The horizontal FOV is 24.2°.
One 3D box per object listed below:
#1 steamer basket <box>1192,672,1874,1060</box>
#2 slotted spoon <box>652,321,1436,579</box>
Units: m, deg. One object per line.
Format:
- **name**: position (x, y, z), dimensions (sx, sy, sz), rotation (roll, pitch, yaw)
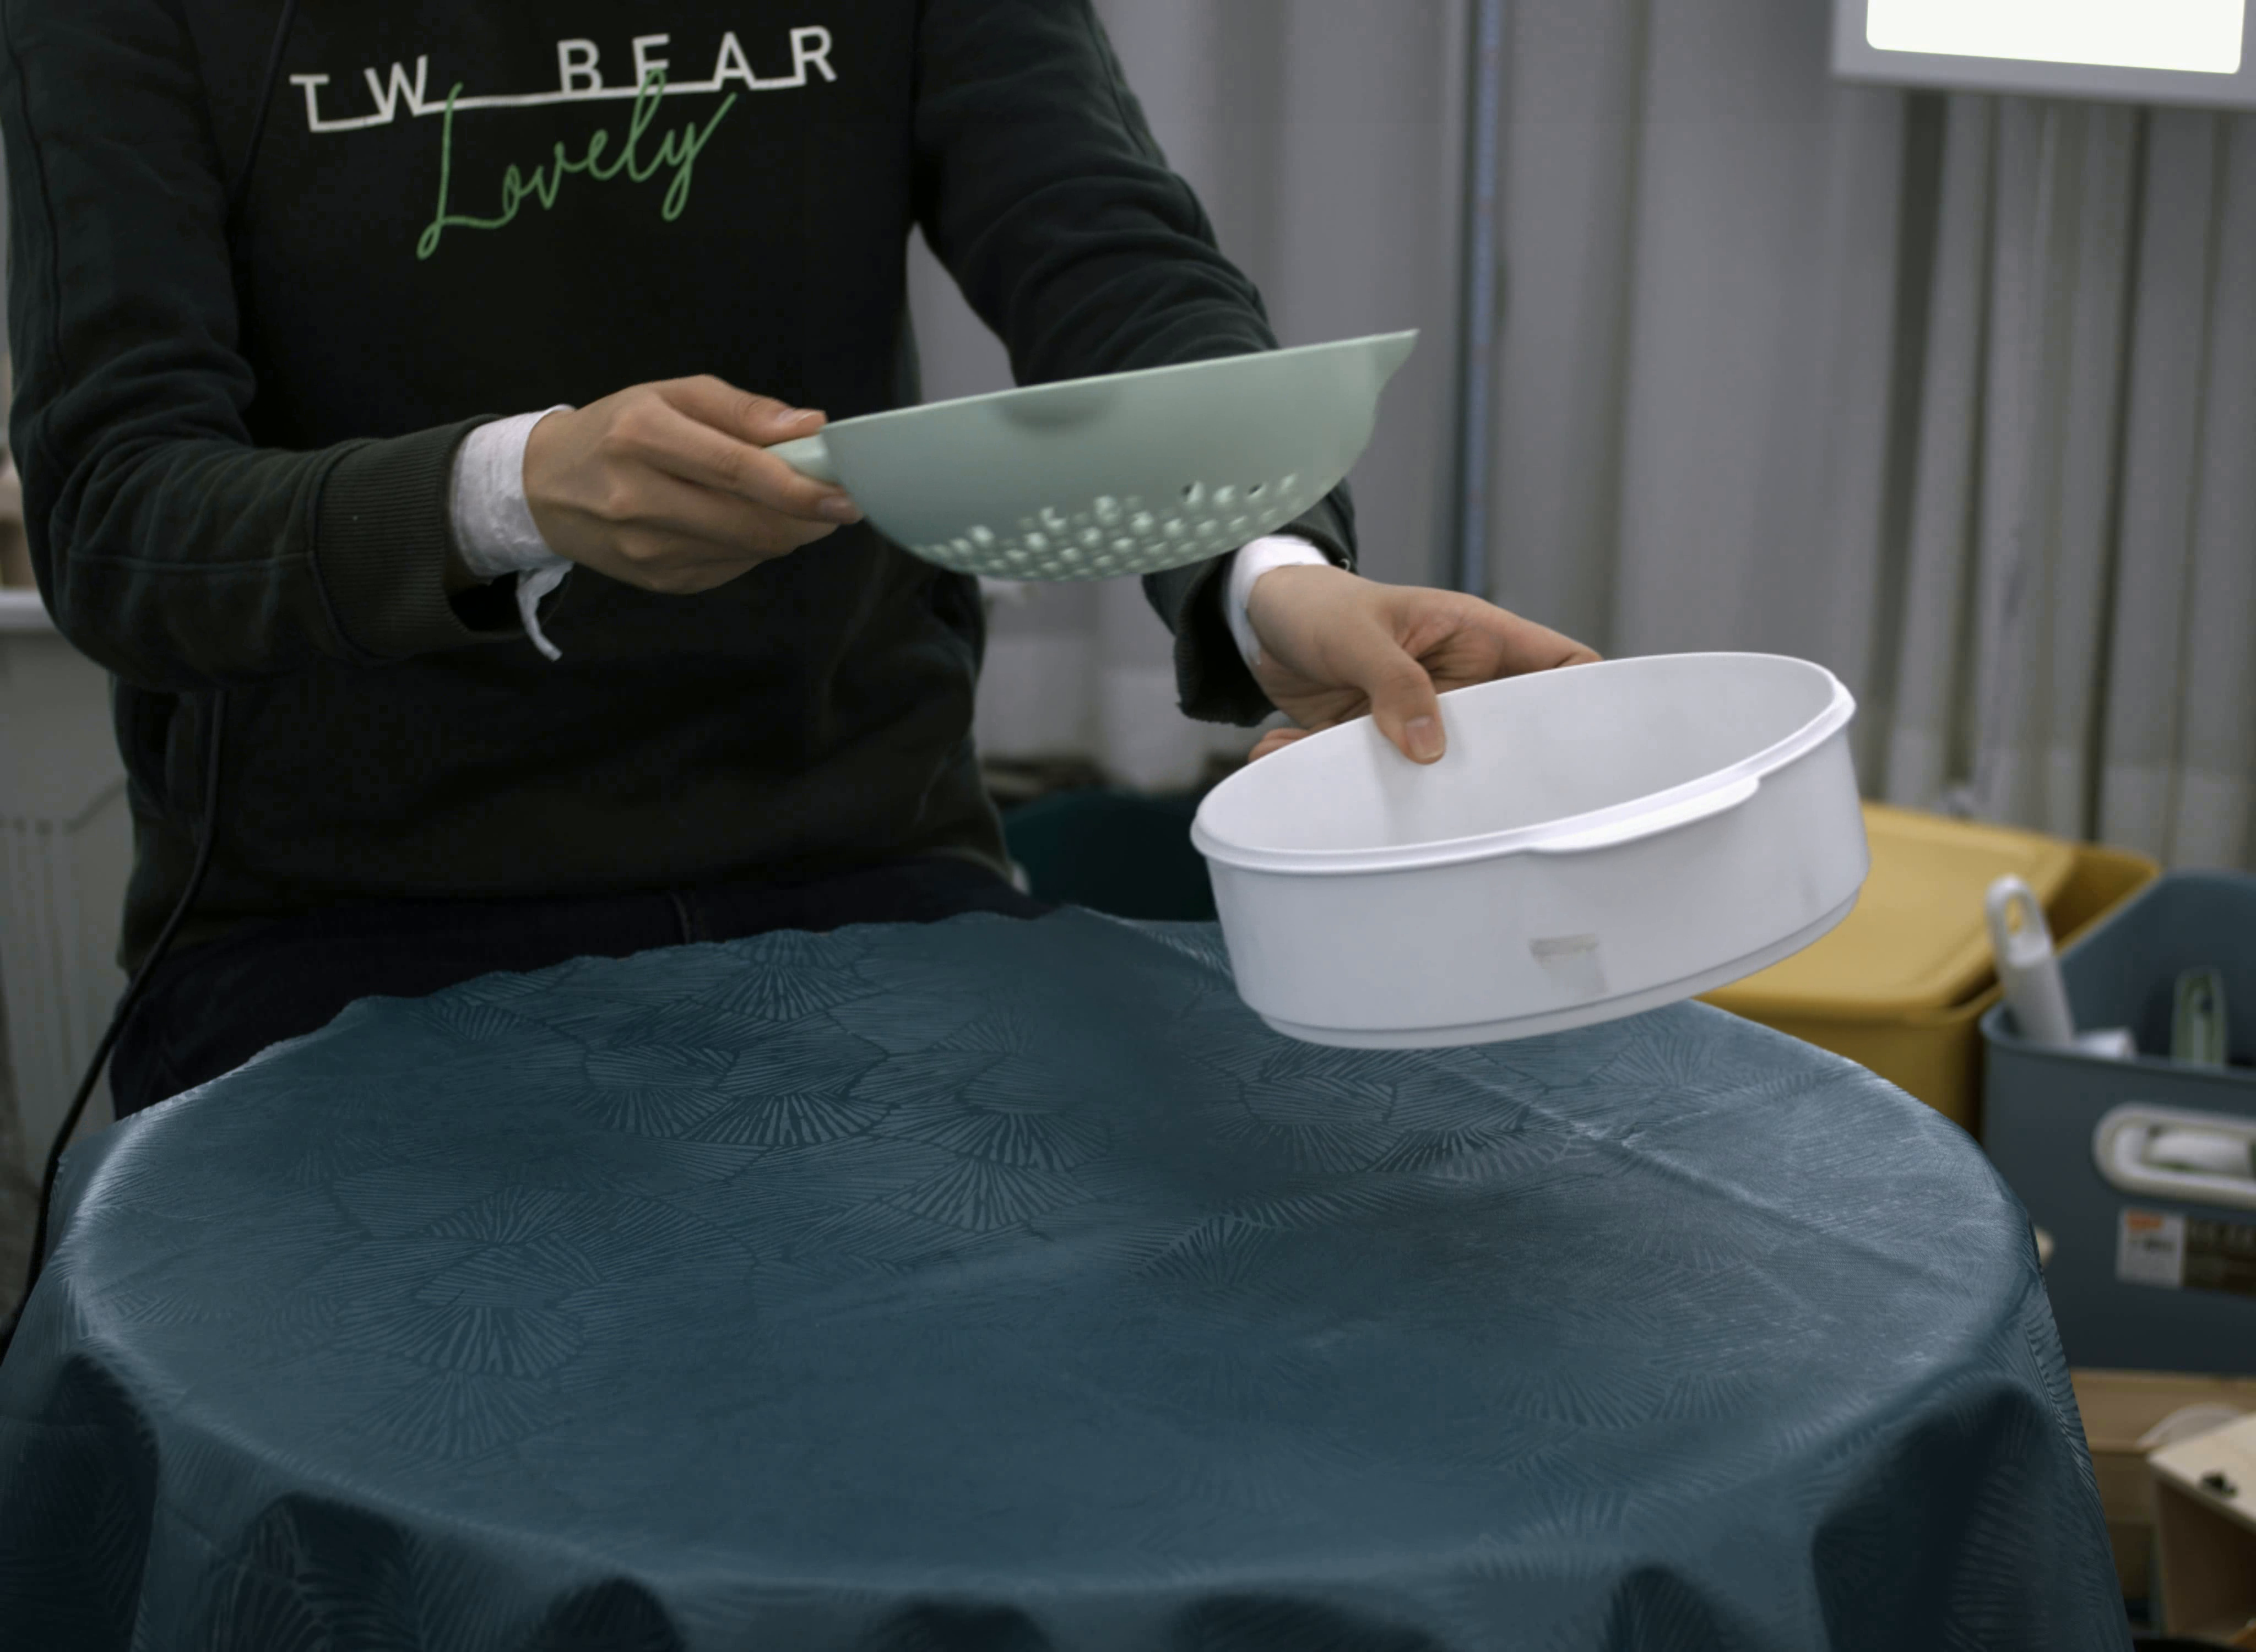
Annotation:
- **steamer basket**: position (0.123, 0.012, 1.571), dimensions (0.202, 0.070, 0.228), rotation (-15, 13, -17)
- **slotted spoon**: position (-0.055, -0.116, 1.612), dimensions (0.170, 0.076, 0.354), rotation (-11, 13, -35)
